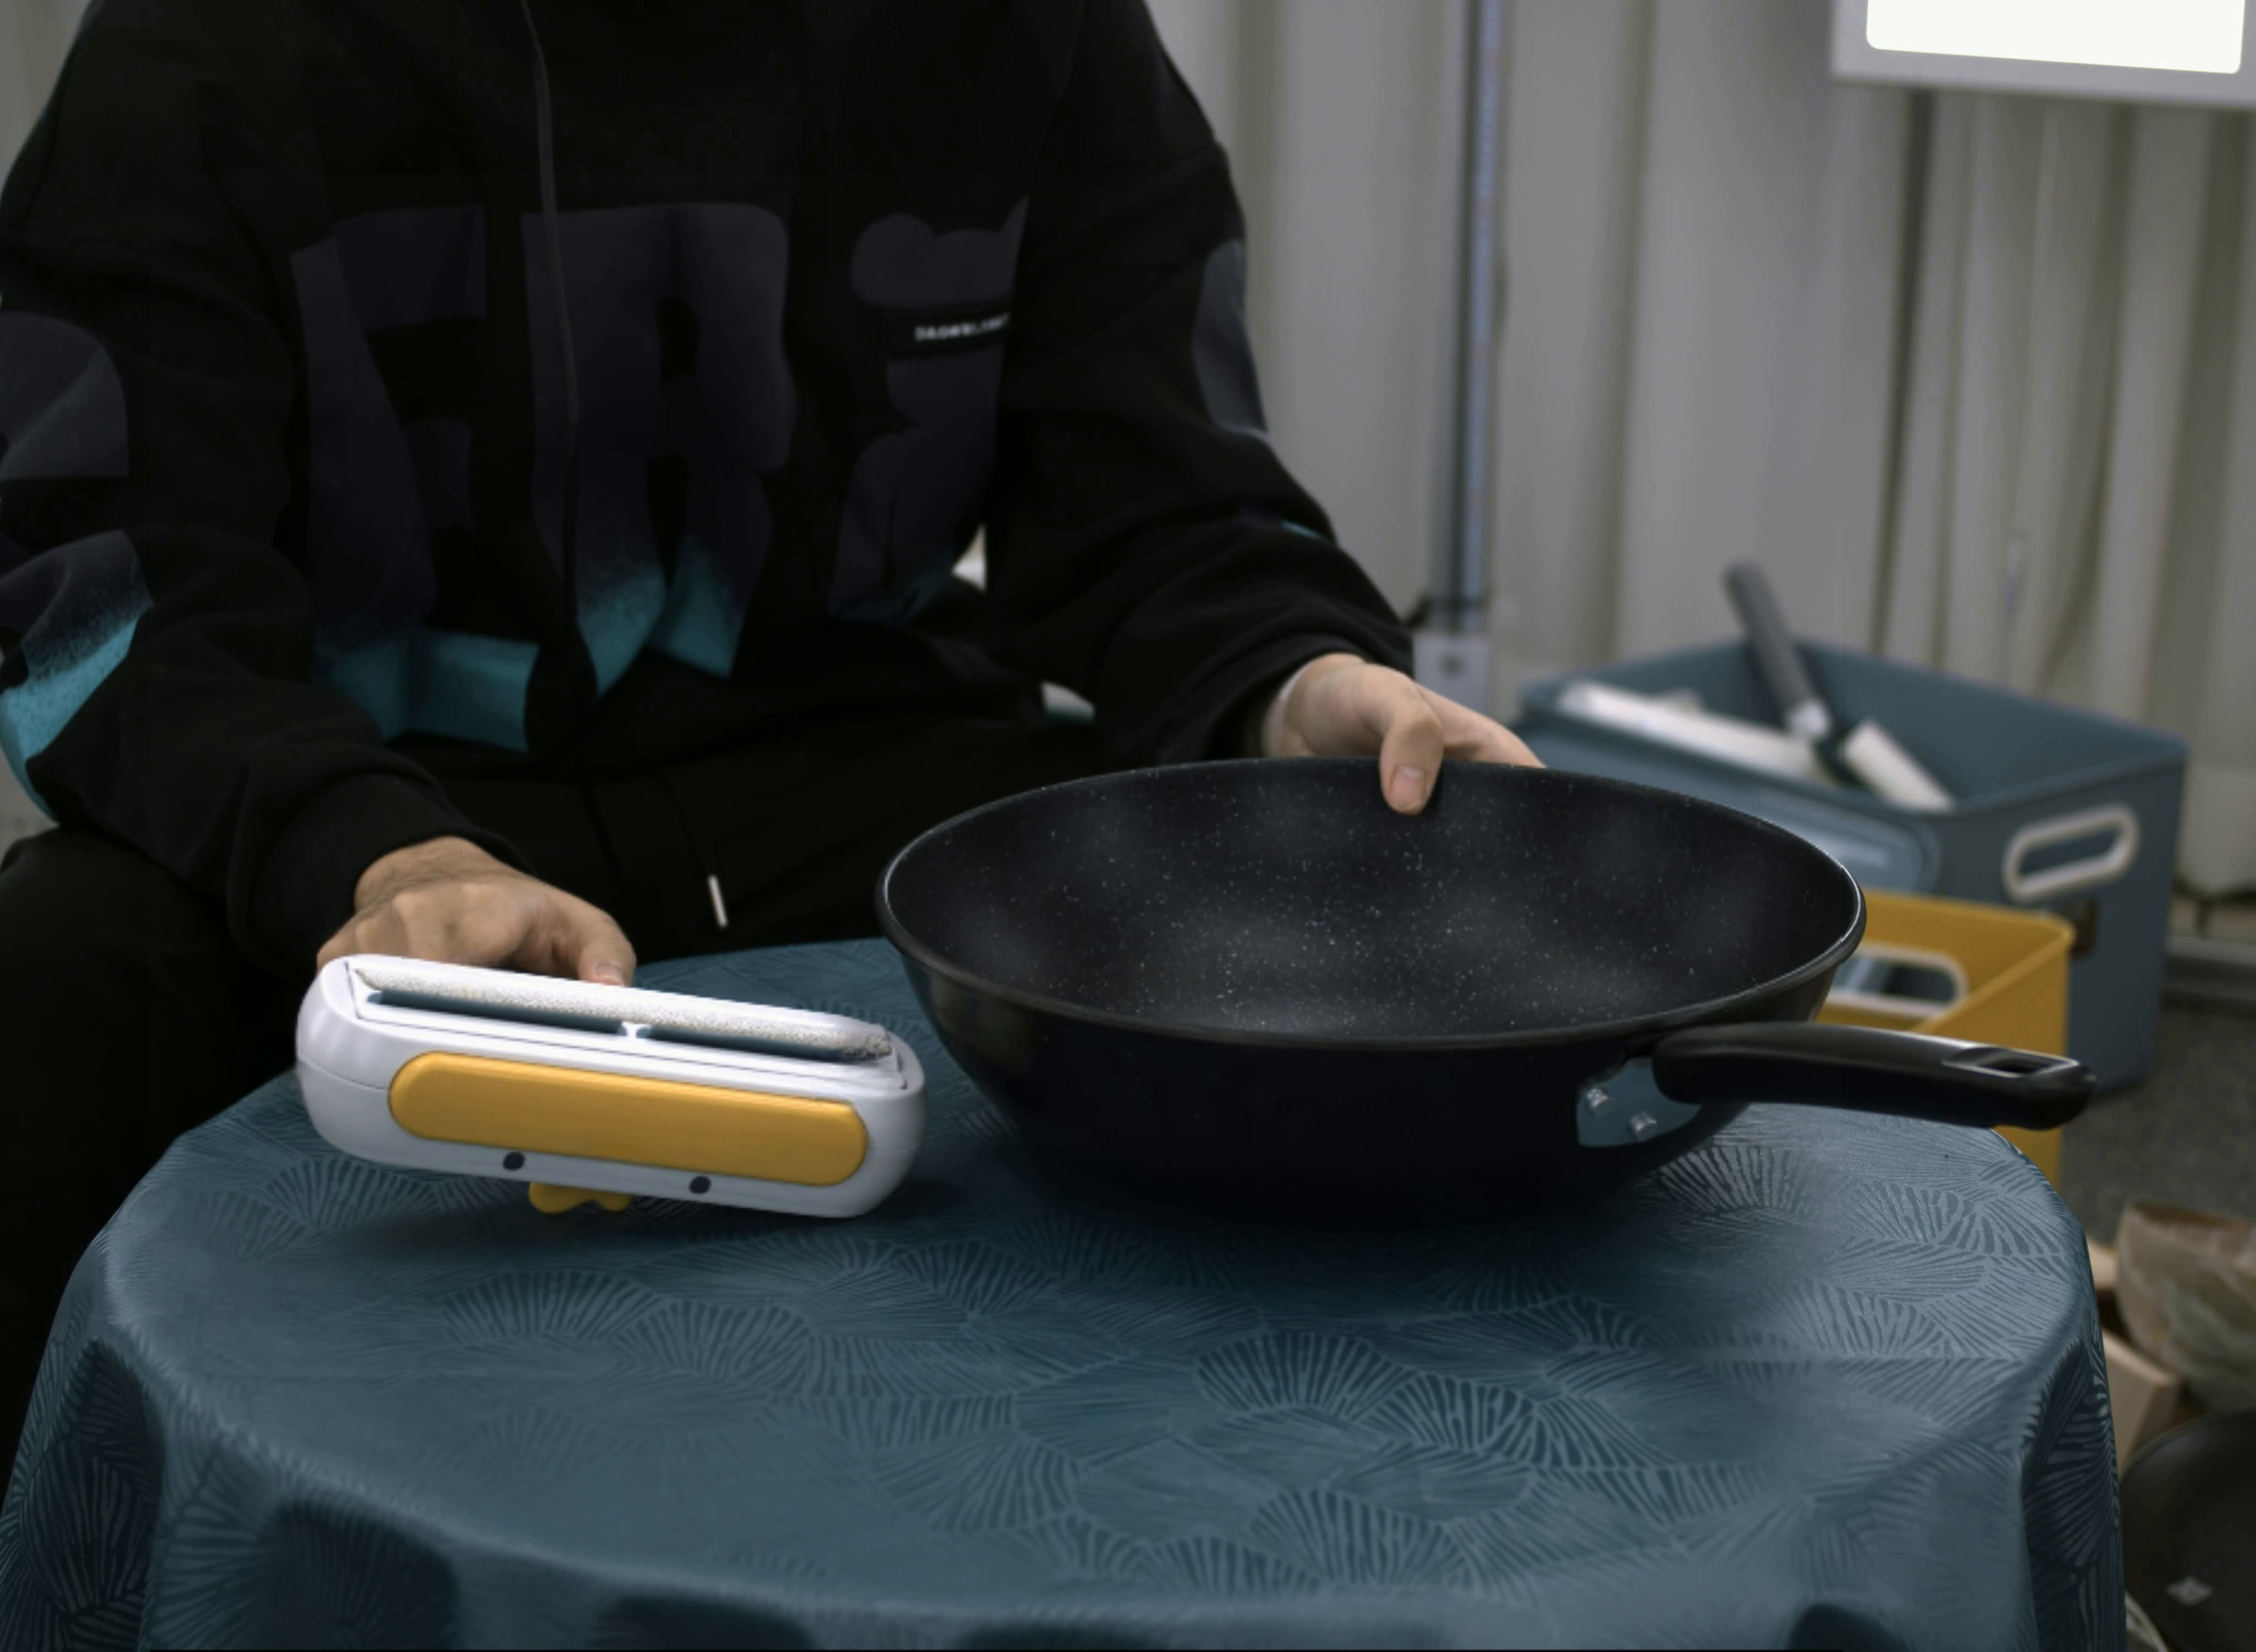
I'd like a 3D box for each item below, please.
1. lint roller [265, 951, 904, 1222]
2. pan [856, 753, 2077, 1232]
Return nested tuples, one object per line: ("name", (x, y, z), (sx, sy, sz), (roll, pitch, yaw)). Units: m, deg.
("lint roller", (-0.174, 0.071, 1.636), (0.193, 0.074, 0.191), (5, 13, -13))
("pan", (0.116, 0.066, 1.588), (0.311, 0.112, 0.470), (-12, 19, -32))
